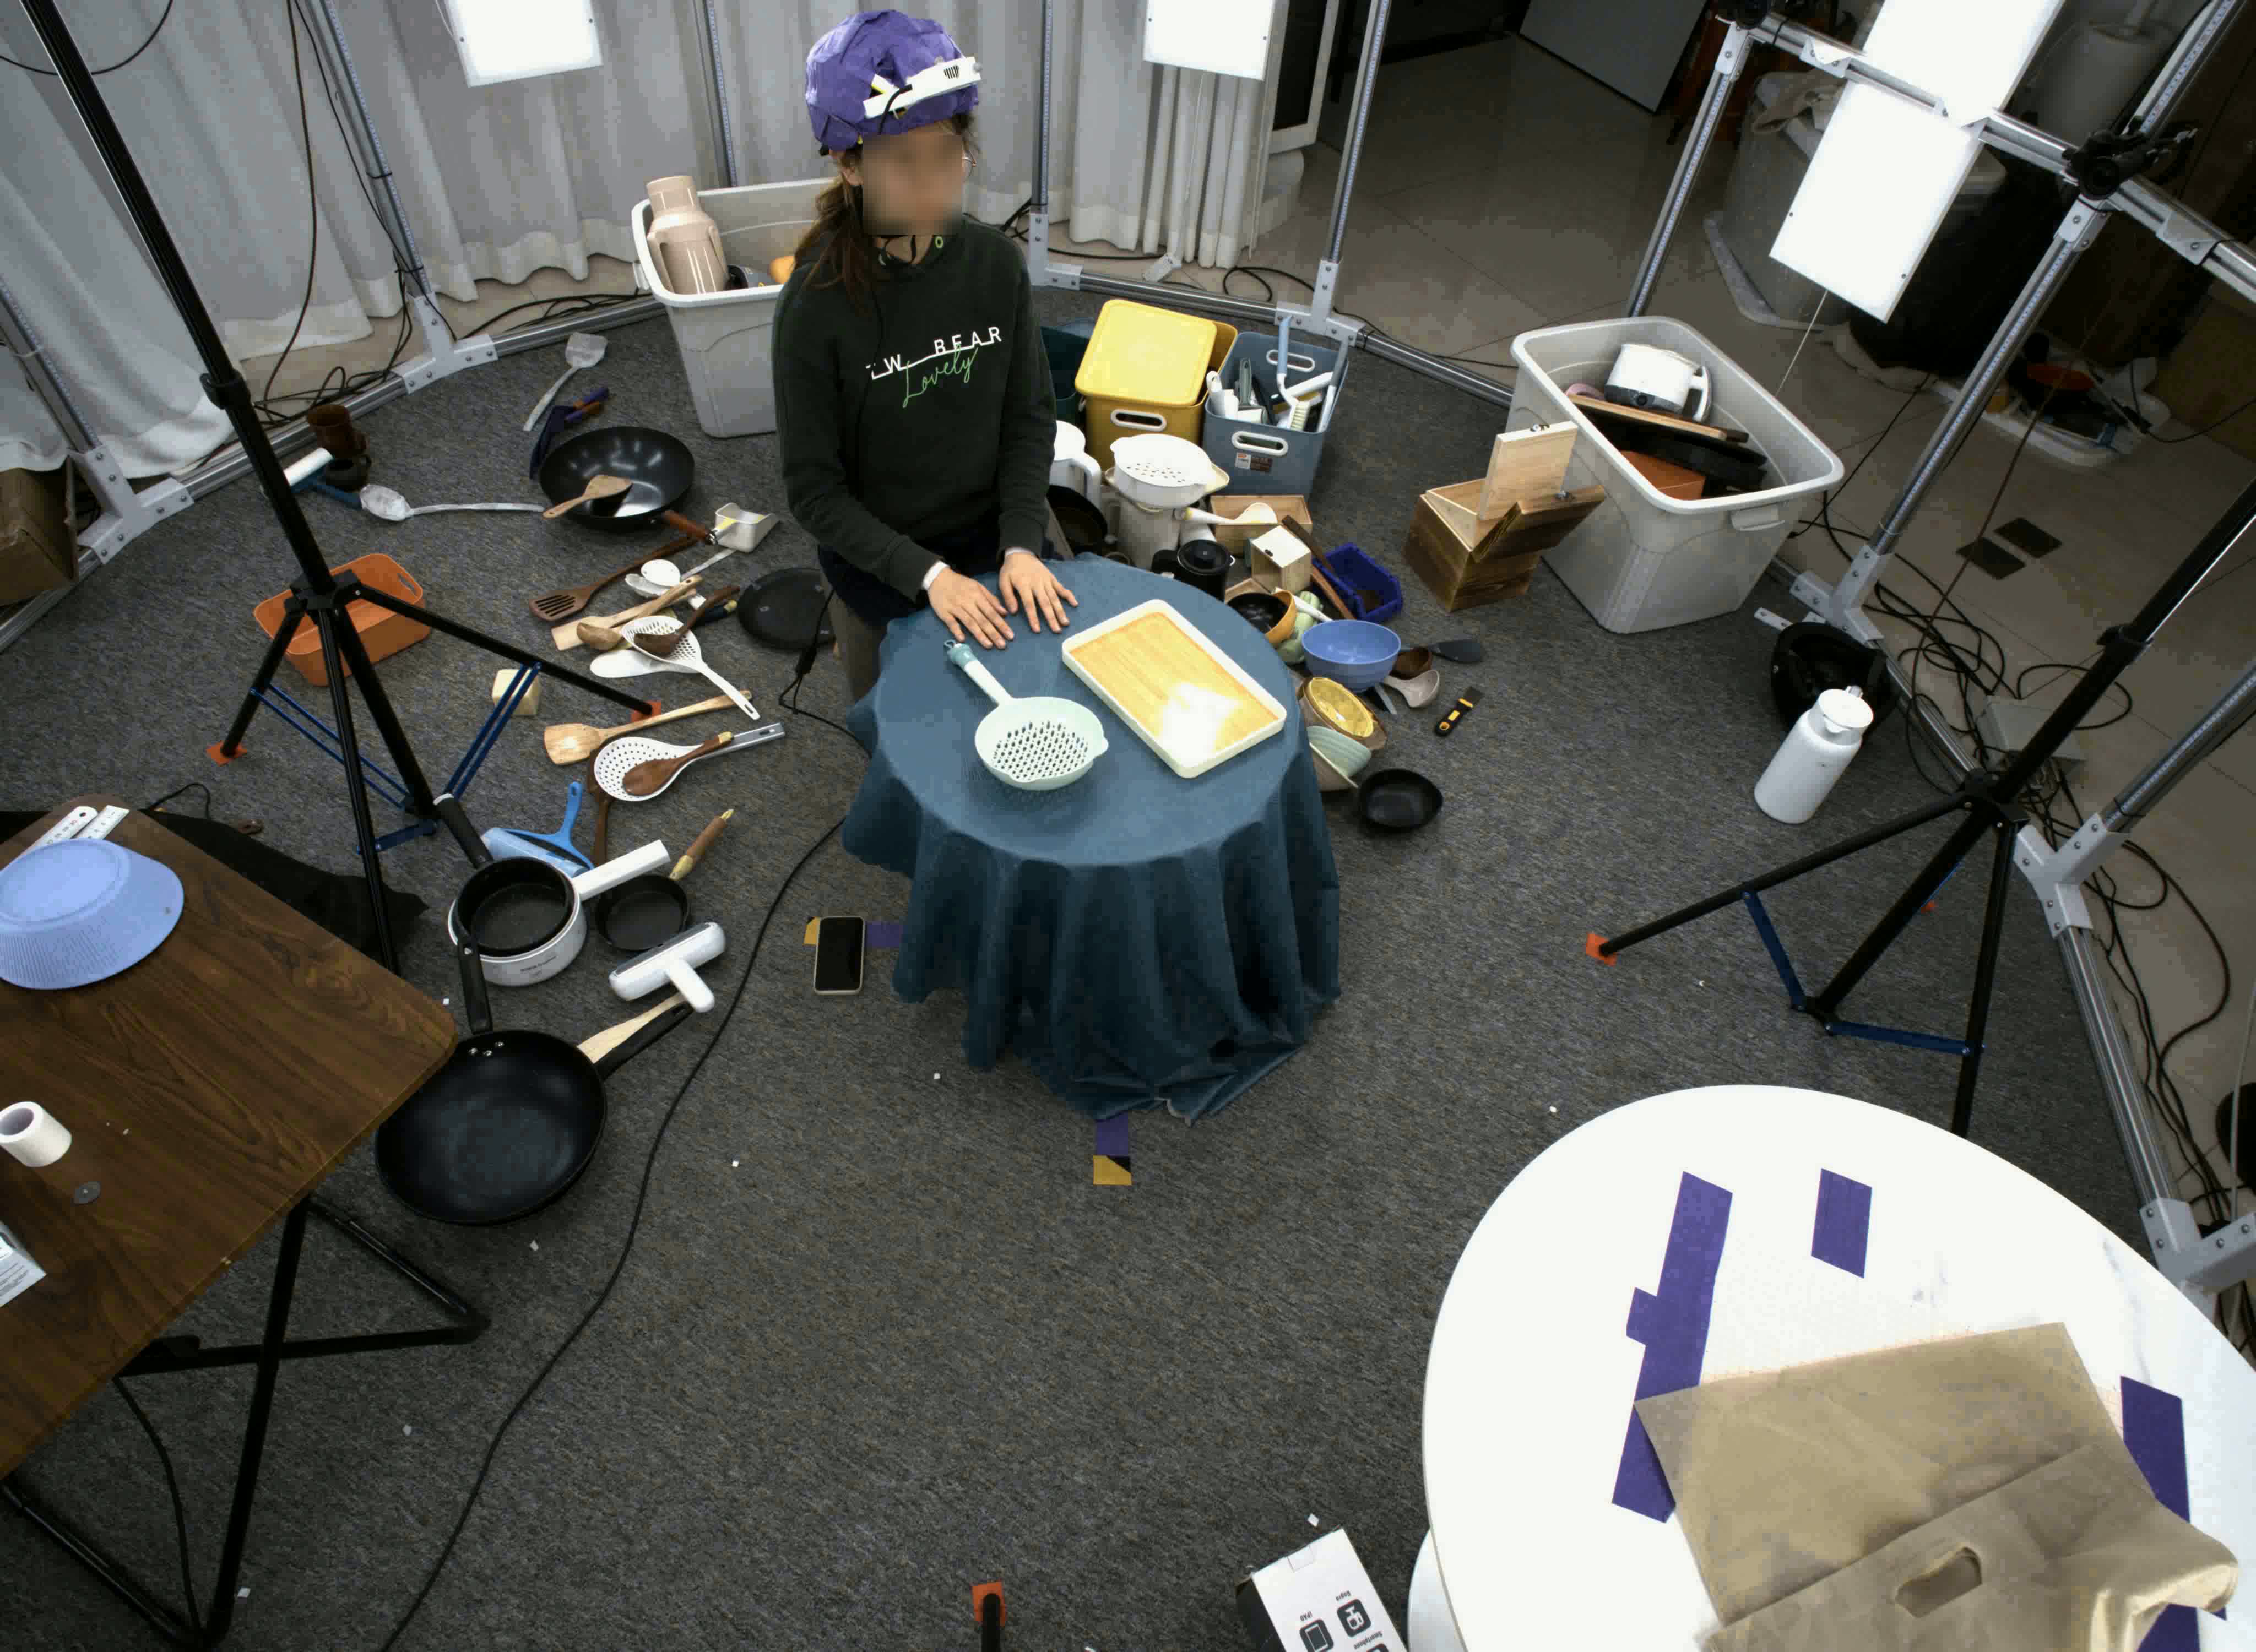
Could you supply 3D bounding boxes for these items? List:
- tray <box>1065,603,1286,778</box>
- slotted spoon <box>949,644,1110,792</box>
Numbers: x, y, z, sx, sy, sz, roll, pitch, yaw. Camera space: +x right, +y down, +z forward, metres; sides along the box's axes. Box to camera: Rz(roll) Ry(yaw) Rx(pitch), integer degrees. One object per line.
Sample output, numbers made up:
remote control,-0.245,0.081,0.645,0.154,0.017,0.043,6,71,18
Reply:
tray,0.065,-0.201,1.847,0.192,0.027,0.306,-28,56,-25
slotted spoon,-0.166,-0.165,1.775,0.170,0.073,0.366,-22,54,-22
